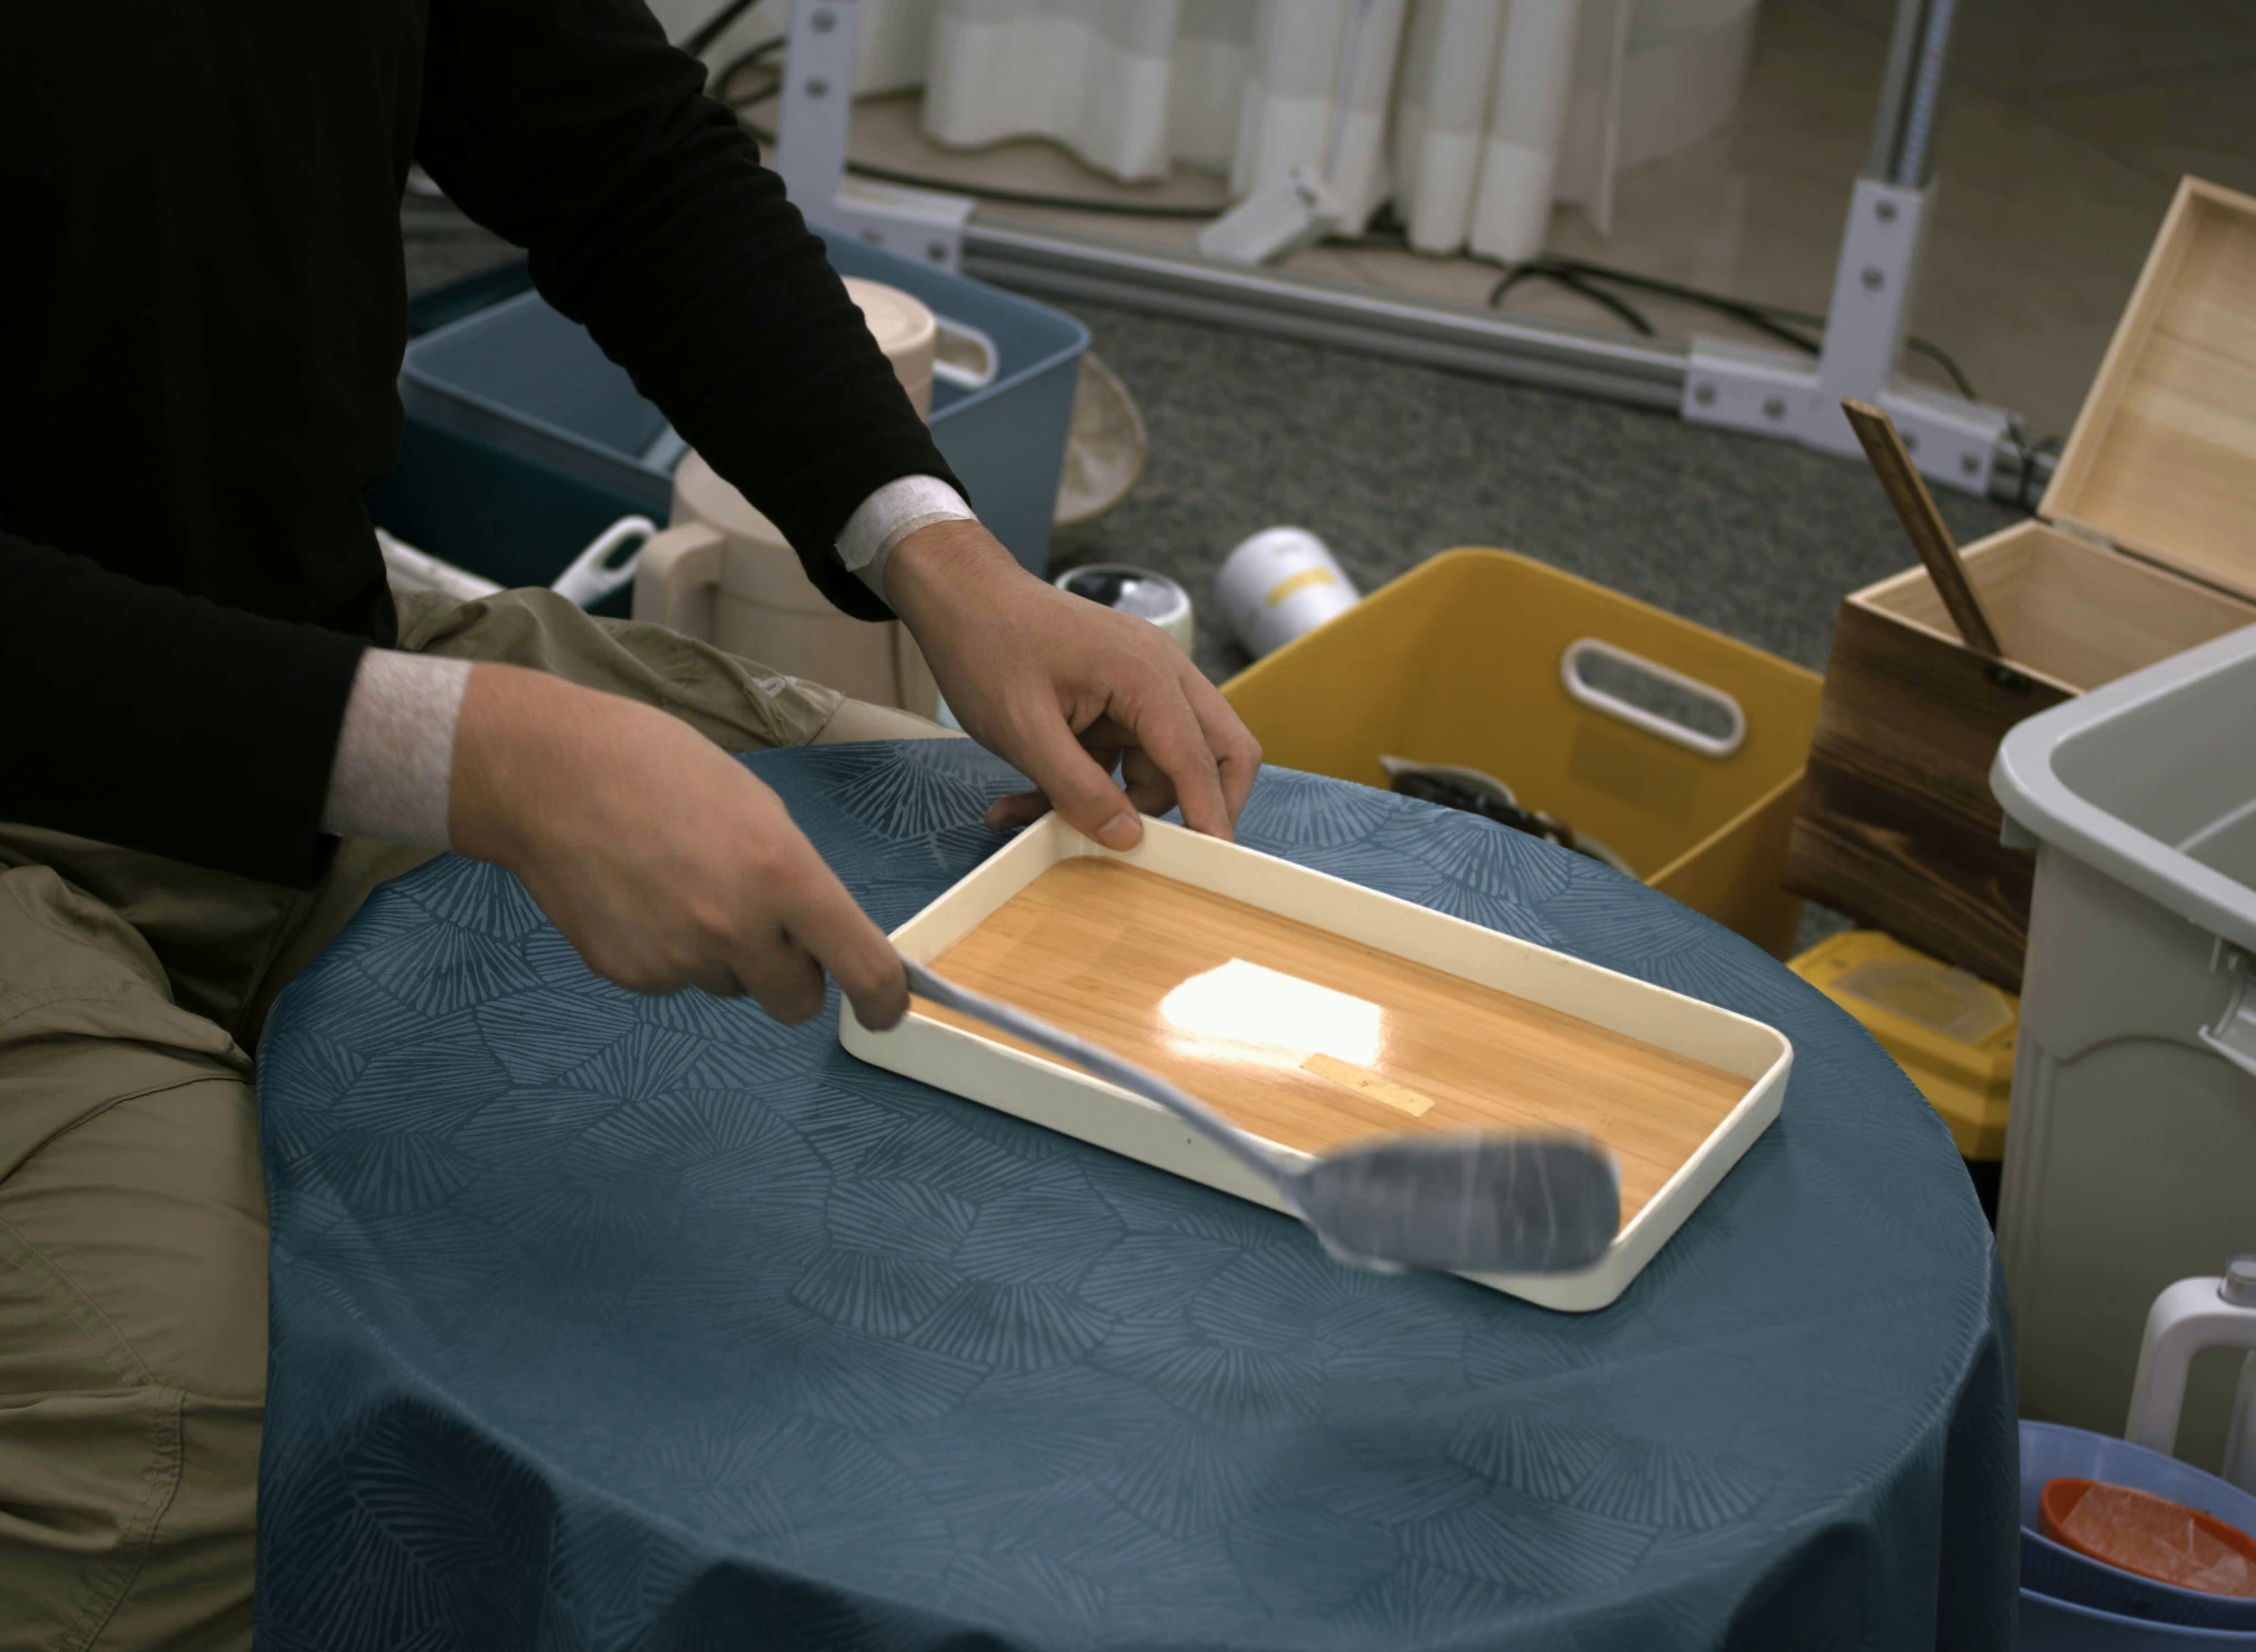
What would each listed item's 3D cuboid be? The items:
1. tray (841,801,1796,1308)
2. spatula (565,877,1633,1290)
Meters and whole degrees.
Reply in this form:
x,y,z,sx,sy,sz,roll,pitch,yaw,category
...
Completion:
x,y,z,sx,sy,sz,roll,pitch,yaw,category
0.067,0.076,1.880,0.301,0.027,0.191,19,29,23,tray
-0.014,0.073,1.690,0.366,0.098,0.045,24,66,15,spatula
